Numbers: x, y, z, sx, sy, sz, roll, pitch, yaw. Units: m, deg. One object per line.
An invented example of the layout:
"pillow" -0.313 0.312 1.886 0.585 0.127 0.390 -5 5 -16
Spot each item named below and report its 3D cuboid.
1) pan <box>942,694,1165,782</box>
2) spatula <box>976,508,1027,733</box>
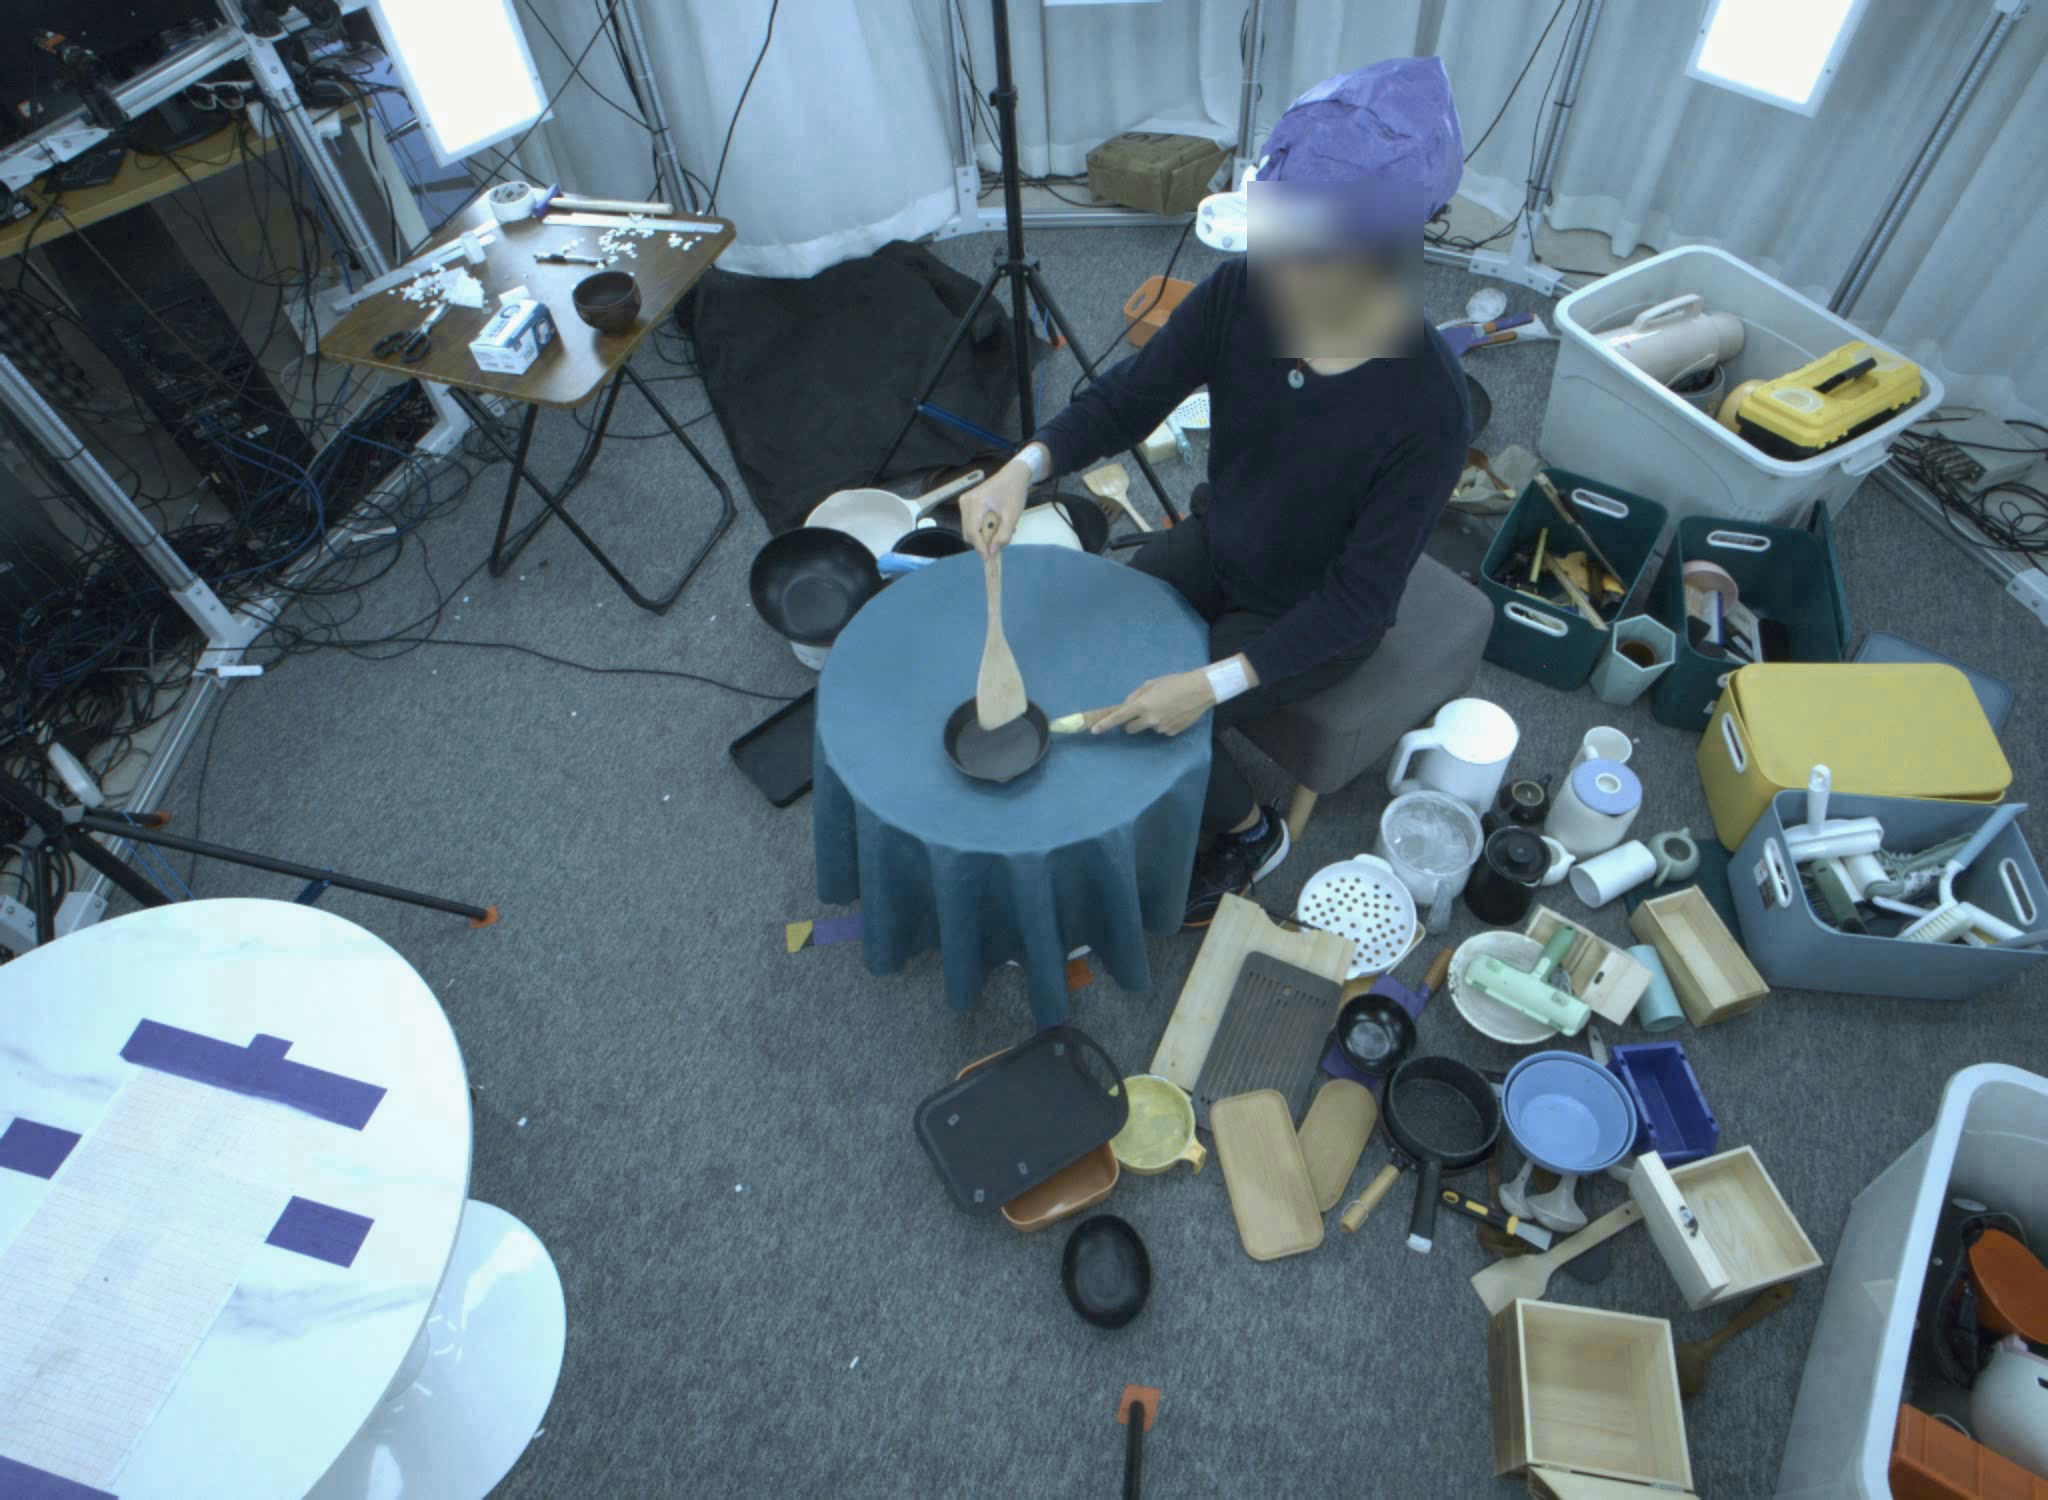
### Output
"pan" 0.044 -0.030 1.776 0.324 0.050 0.166 -8 54 -1
"spatula" -0.039 -0.177 1.695 0.081 0.331 0.016 -19 35 -24
